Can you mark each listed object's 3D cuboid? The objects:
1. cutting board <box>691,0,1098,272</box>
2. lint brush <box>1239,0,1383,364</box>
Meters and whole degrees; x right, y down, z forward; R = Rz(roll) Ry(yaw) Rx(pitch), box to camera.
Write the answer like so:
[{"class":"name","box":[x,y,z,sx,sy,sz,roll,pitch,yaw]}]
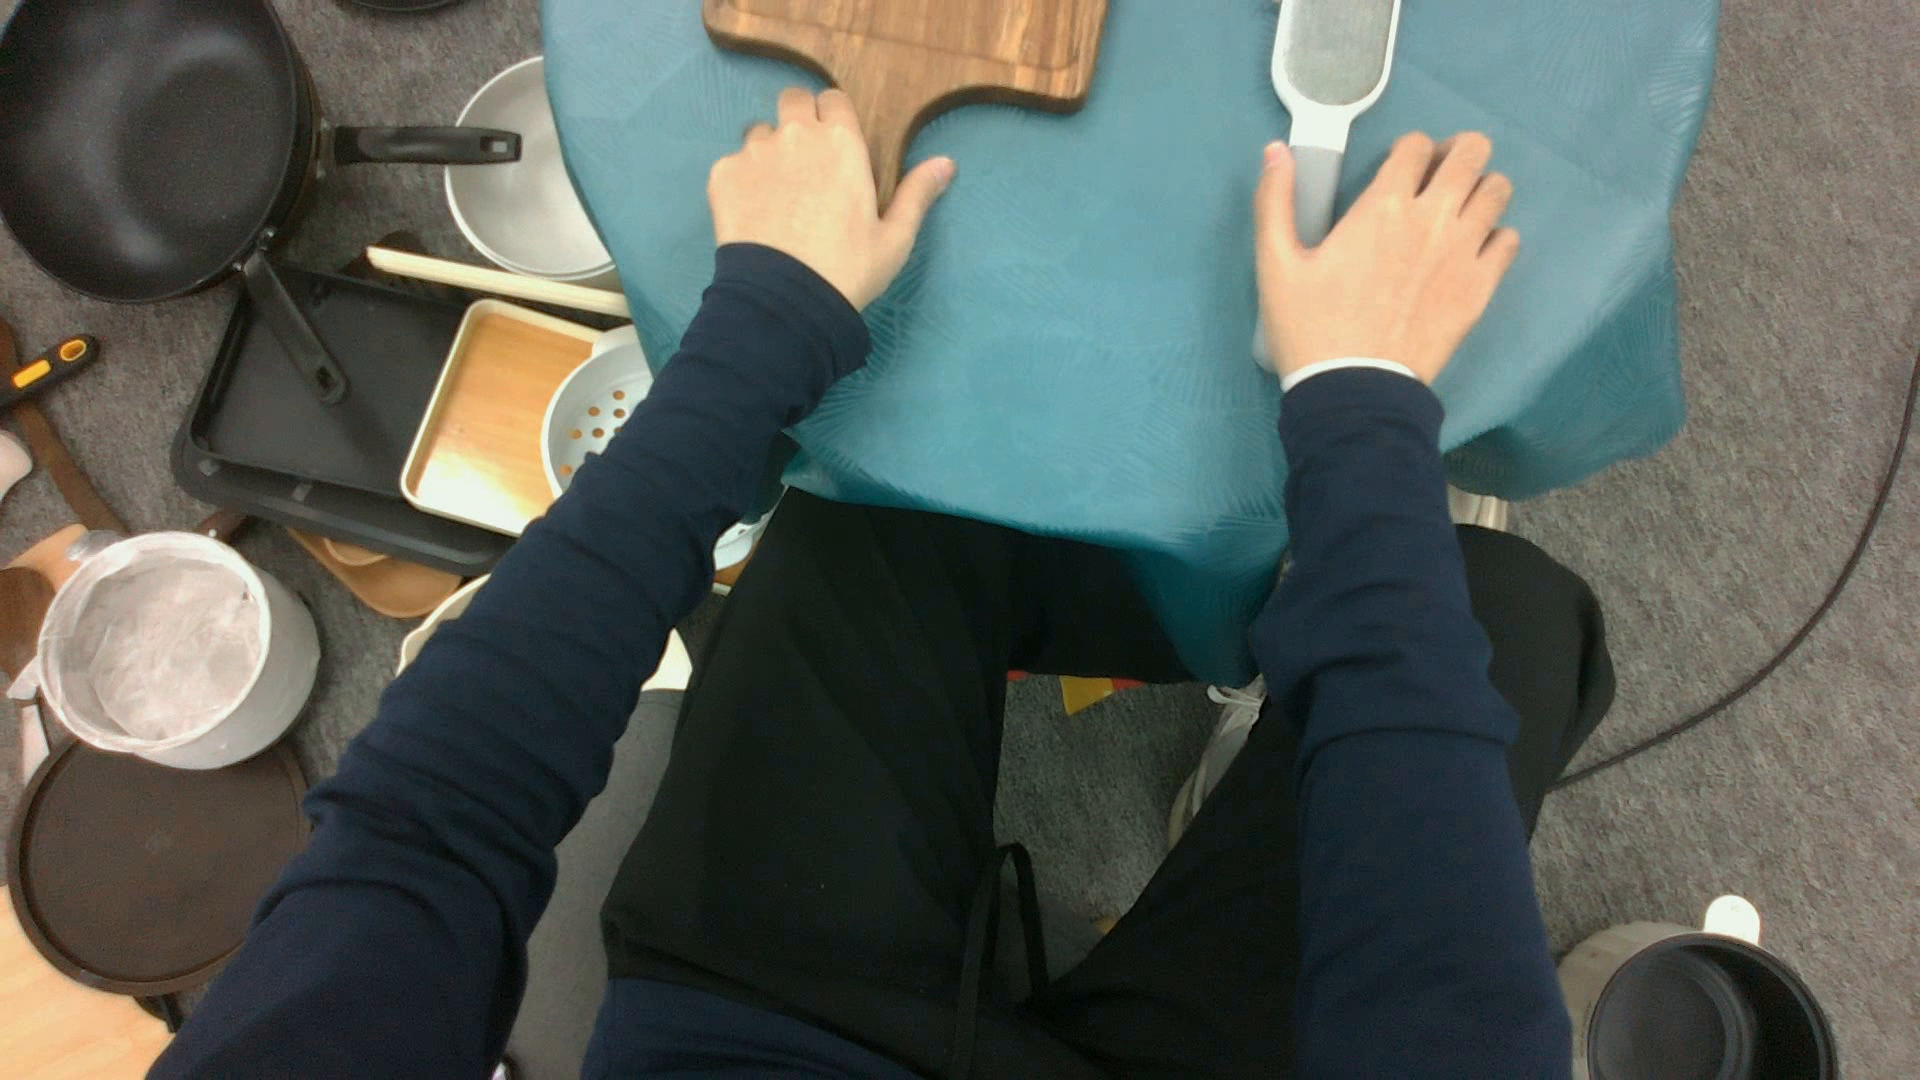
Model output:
[{"class":"cutting board","box":[-0.026,-0.306,0.699,0.201,0.023,0.352,11,83,2]},{"class":"lint brush","box":[0.174,-0.236,0.683,0.060,0.021,0.309,11,82,-3]}]
